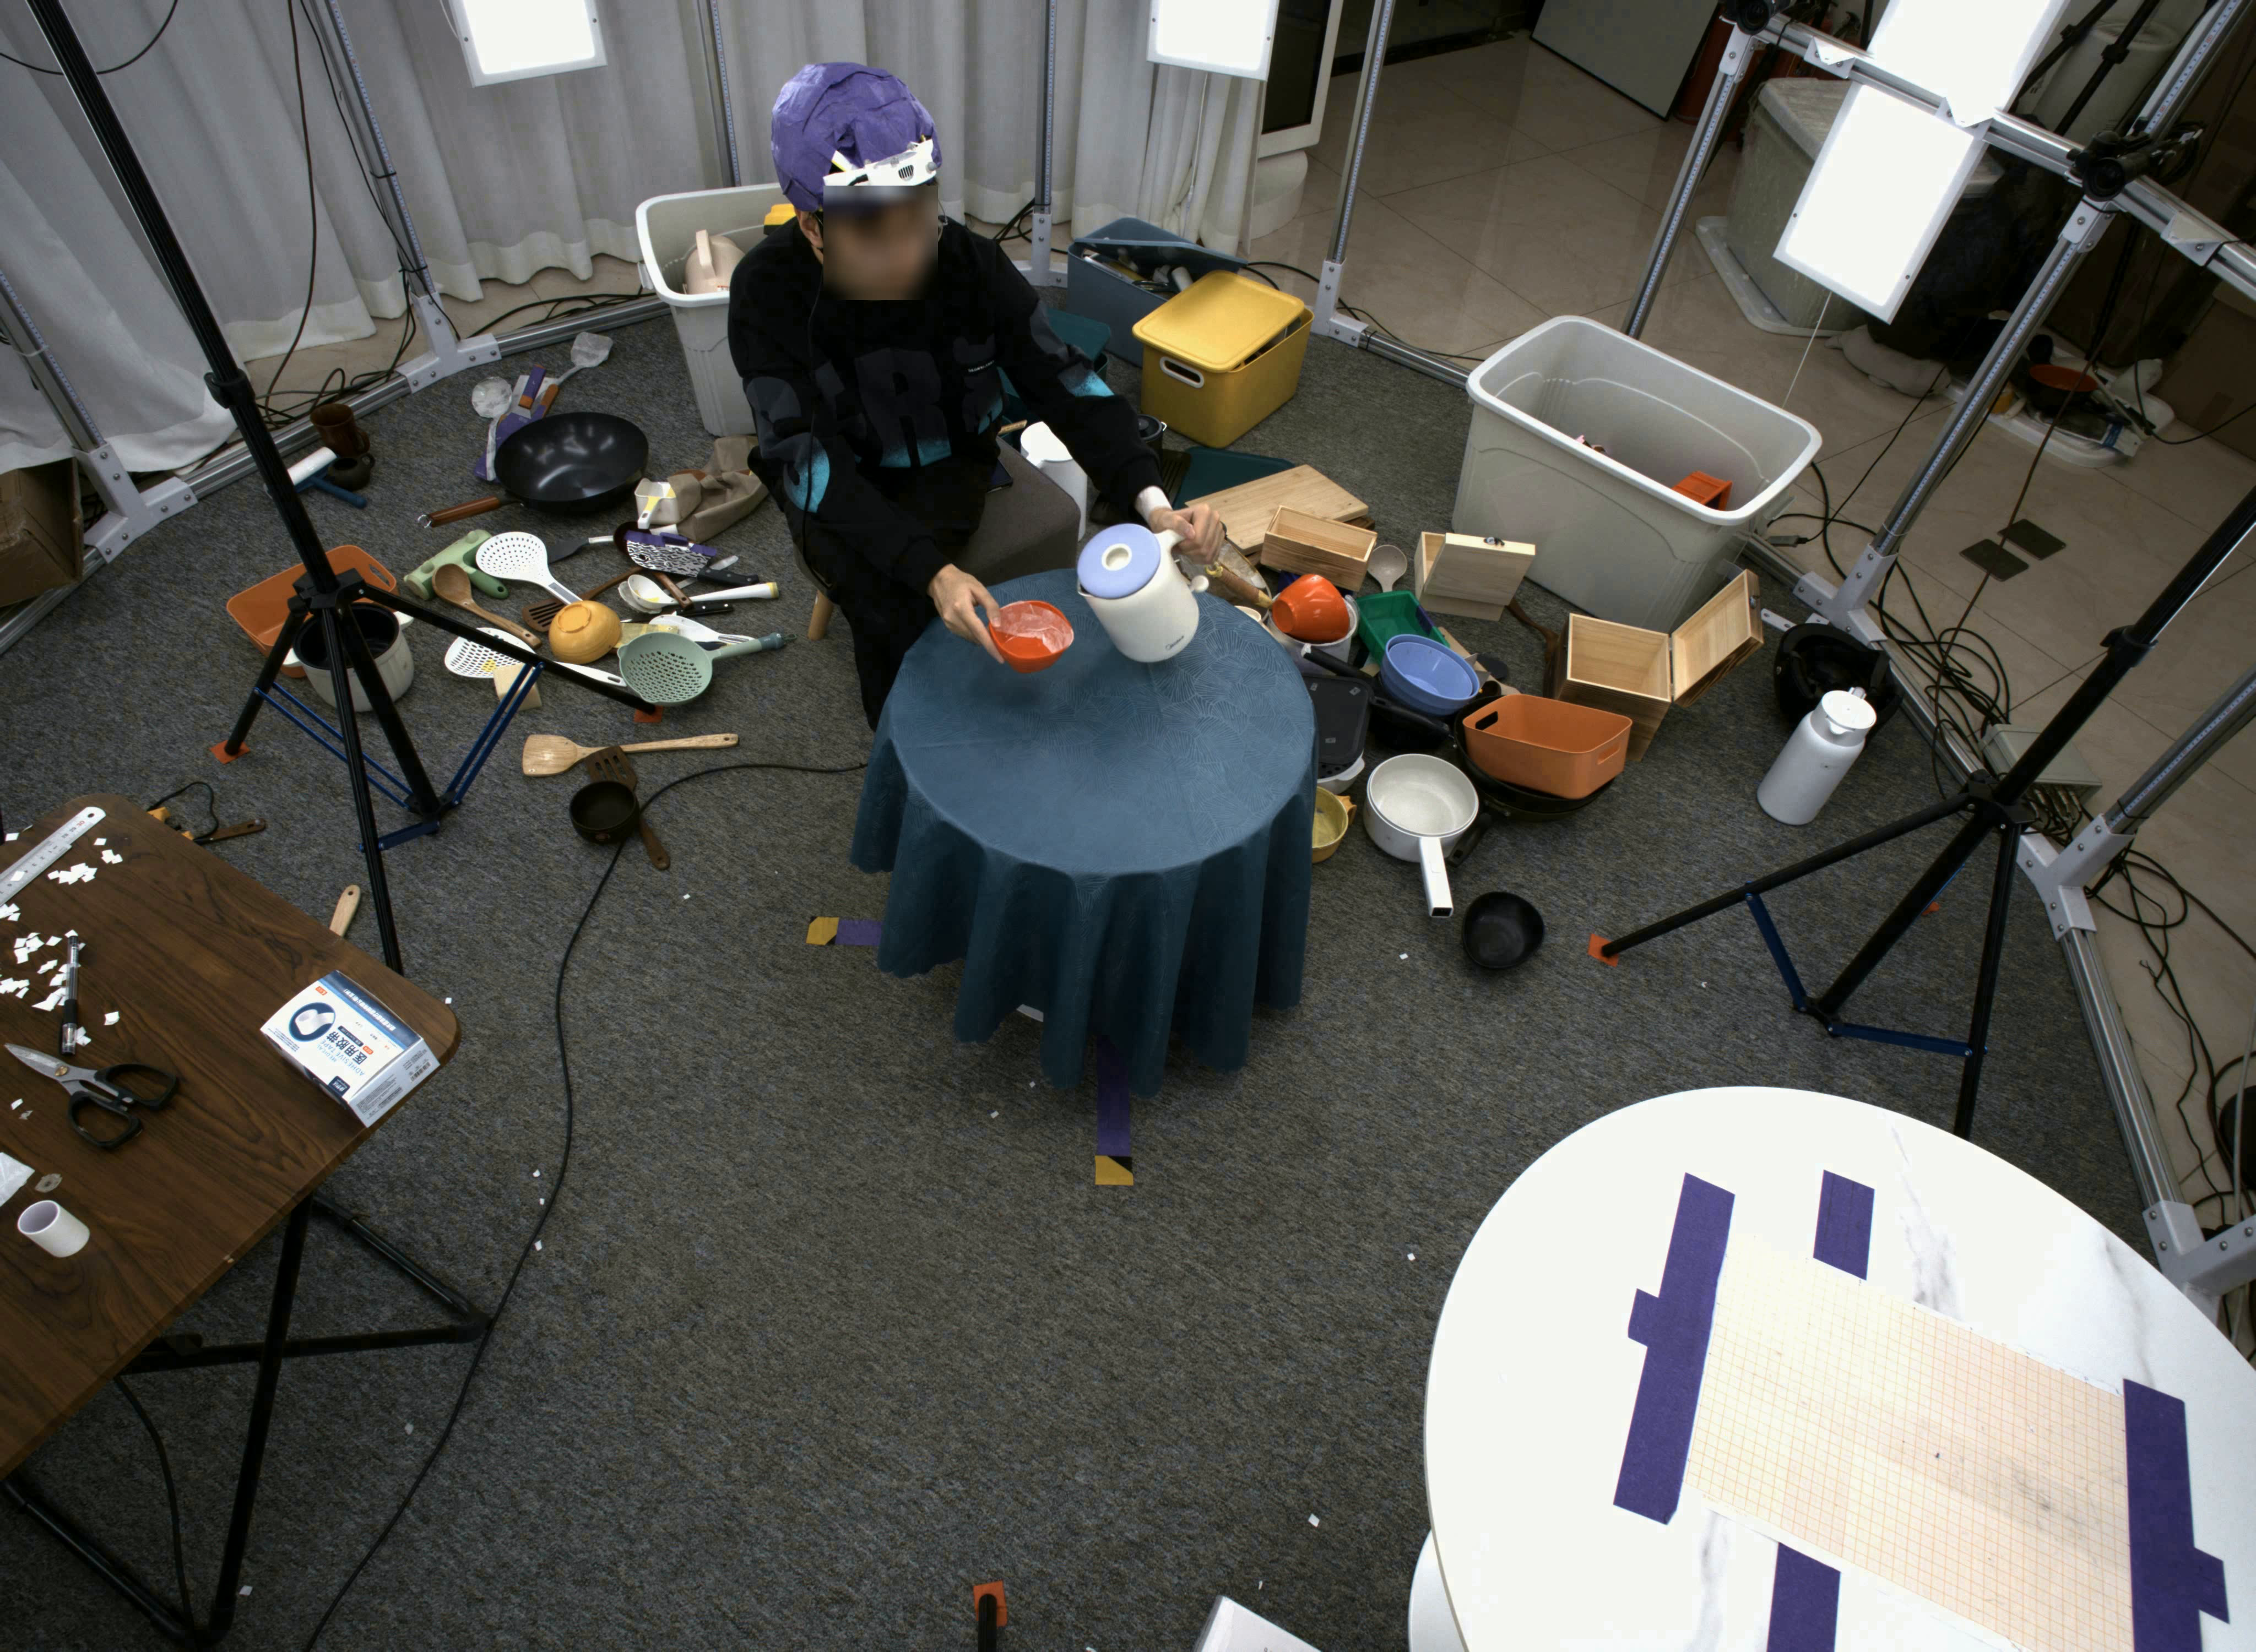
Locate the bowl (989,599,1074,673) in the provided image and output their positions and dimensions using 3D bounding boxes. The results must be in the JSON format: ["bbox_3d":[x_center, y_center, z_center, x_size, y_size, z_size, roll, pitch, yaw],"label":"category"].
[{"bbox_3d":[-0.134,-0.255,1.766,0.119,0.050,0.122,4,52,-5],"label":"bowl"}]

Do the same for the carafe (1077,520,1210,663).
[{"bbox_3d":[0.032,-0.337,1.788,0.191,0.178,0.135,-37,59,-3],"label":"carafe"}]
